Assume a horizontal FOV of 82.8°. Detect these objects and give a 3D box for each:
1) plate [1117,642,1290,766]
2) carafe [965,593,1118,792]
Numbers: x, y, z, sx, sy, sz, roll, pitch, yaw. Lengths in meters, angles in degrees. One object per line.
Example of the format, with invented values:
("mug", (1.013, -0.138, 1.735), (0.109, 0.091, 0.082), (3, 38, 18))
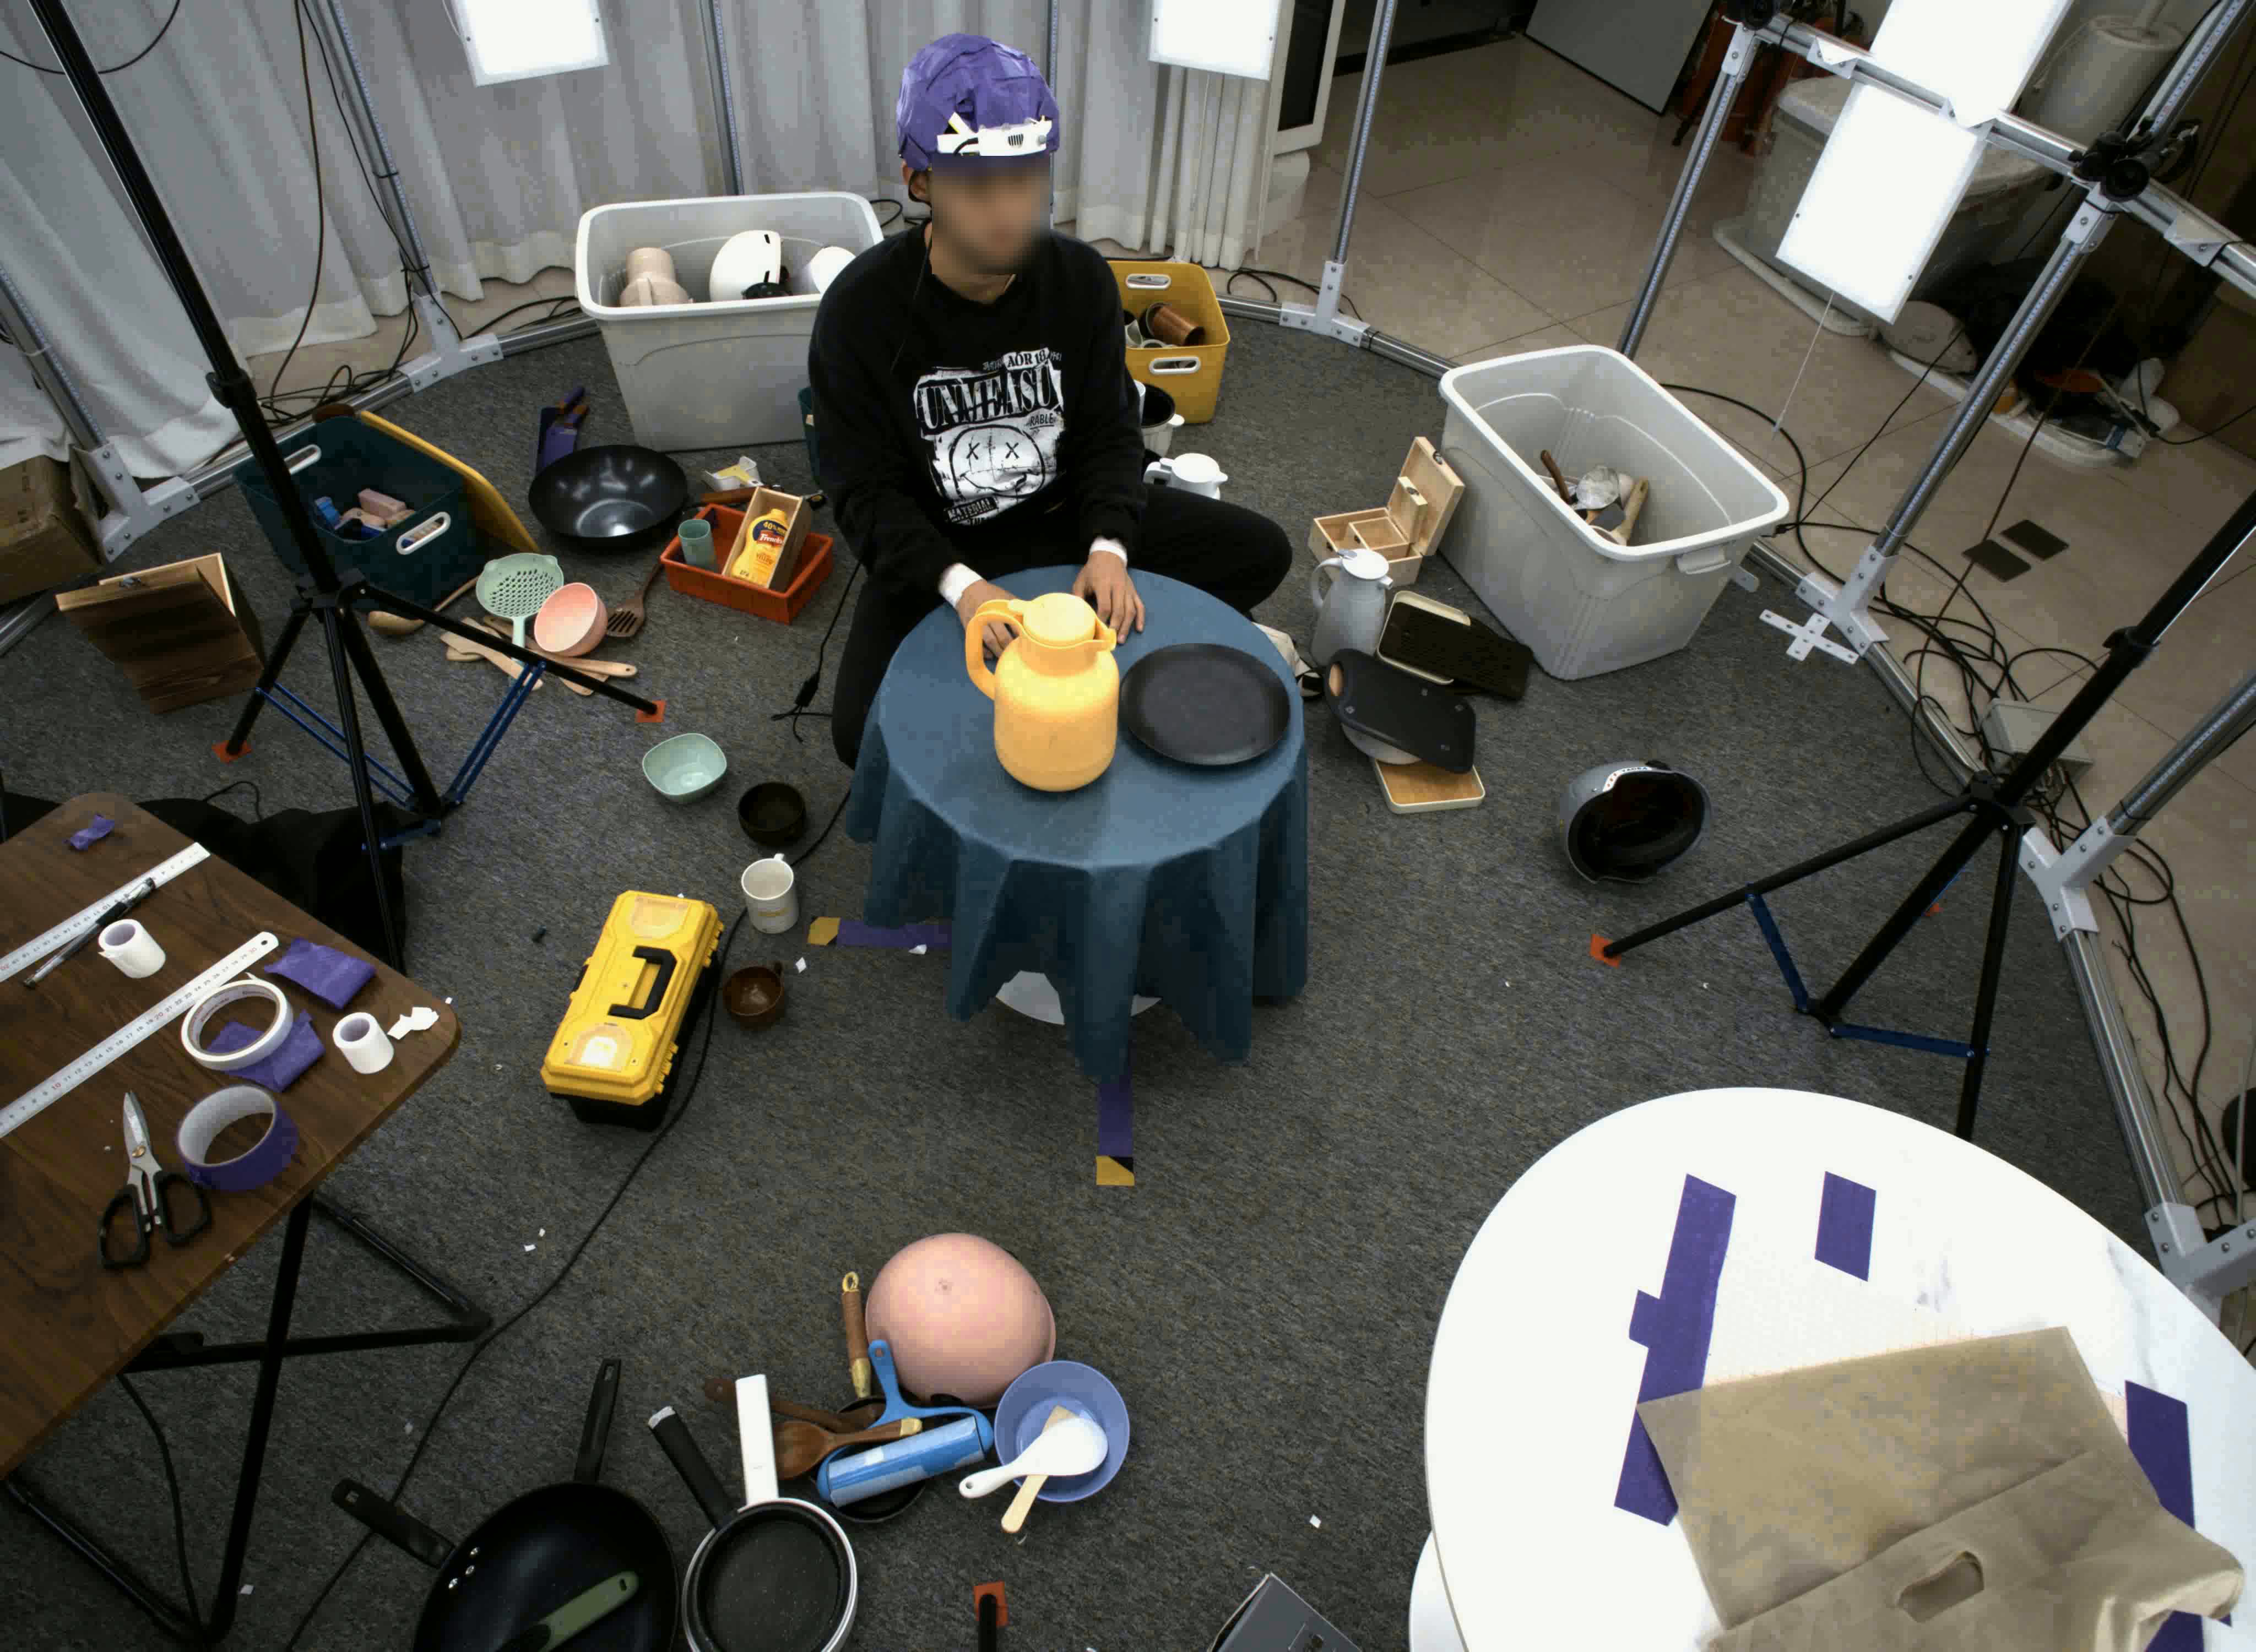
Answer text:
("plate", (0.106, -0.169, 1.807), (0.244, 0.023, 0.250), (2, 49, -2))
("carafe", (-0.111, -0.183, 1.653), (0.203, 0.254, 0.166), (20, 49, 11))
